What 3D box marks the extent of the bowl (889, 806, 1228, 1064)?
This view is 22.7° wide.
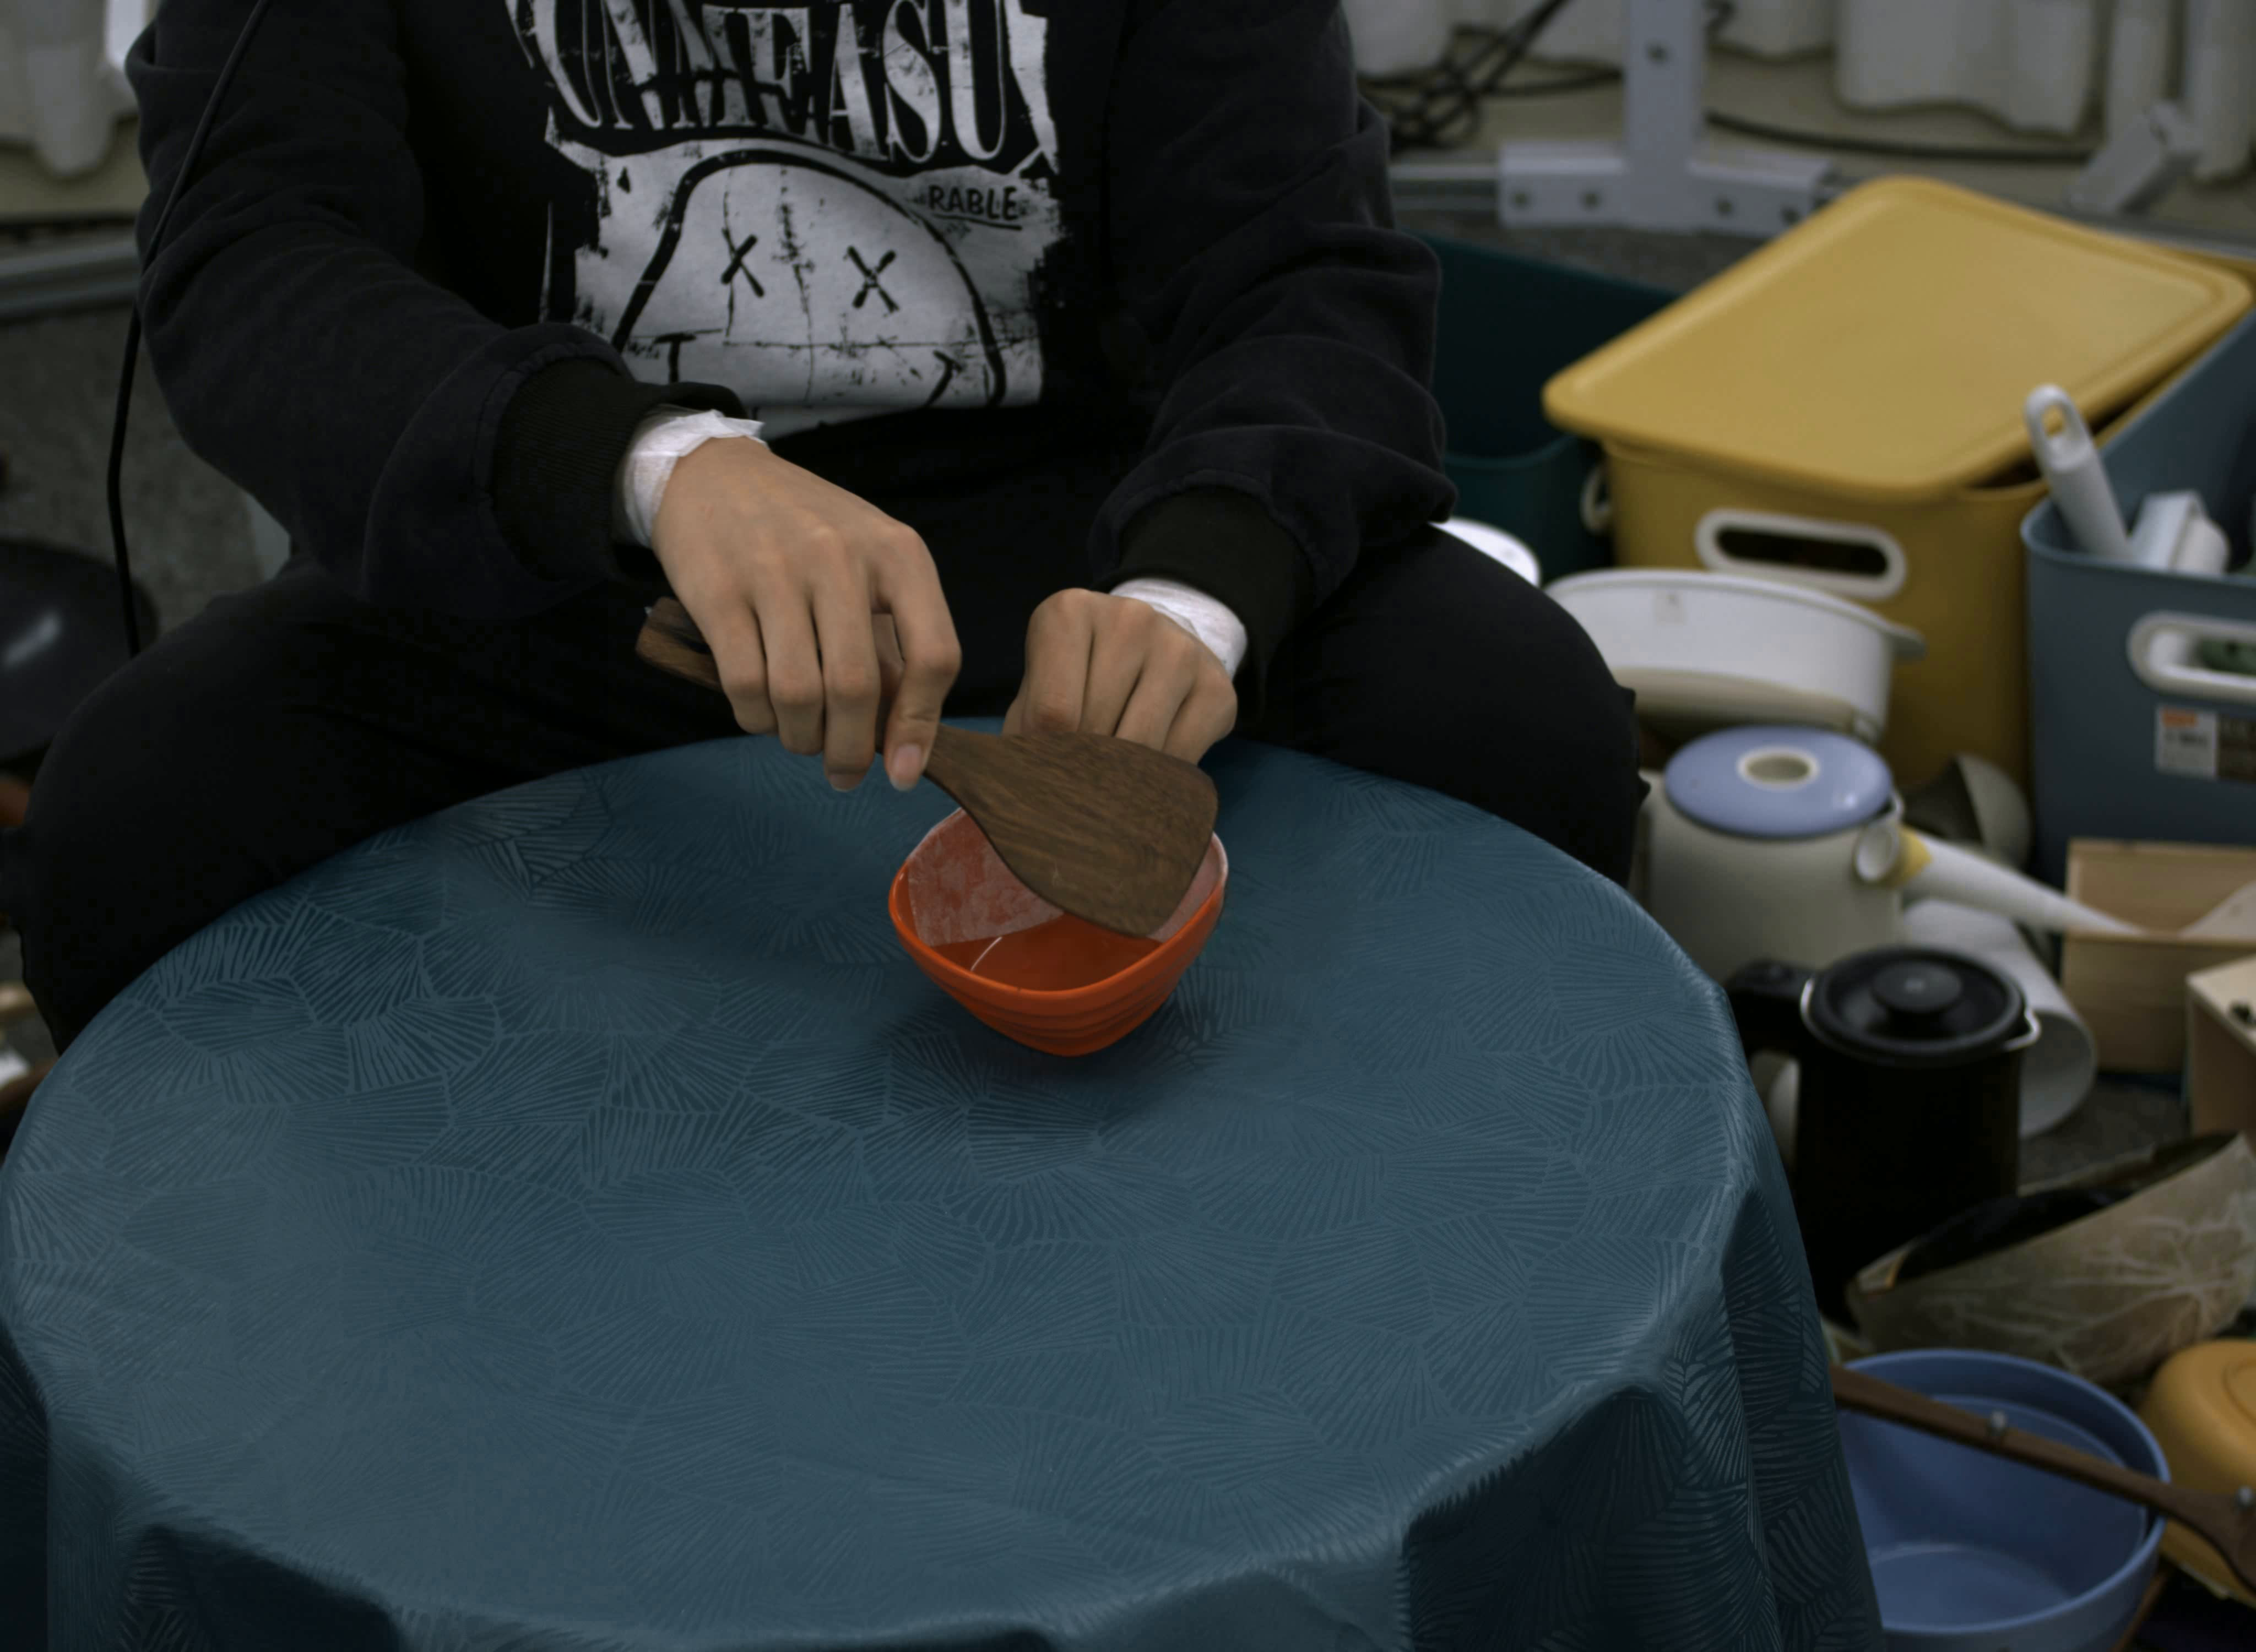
[{"bbox_3d":[-0.021,0.039,1.957,0.118,0.050,0.121,-6,40,5],"label":"bowl"}]

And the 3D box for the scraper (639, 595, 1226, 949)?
[{"bbox_3d":[-0.070,-0.027,1.933,0.211,0.010,0.077,25,62,4],"label":"scraper"}]
